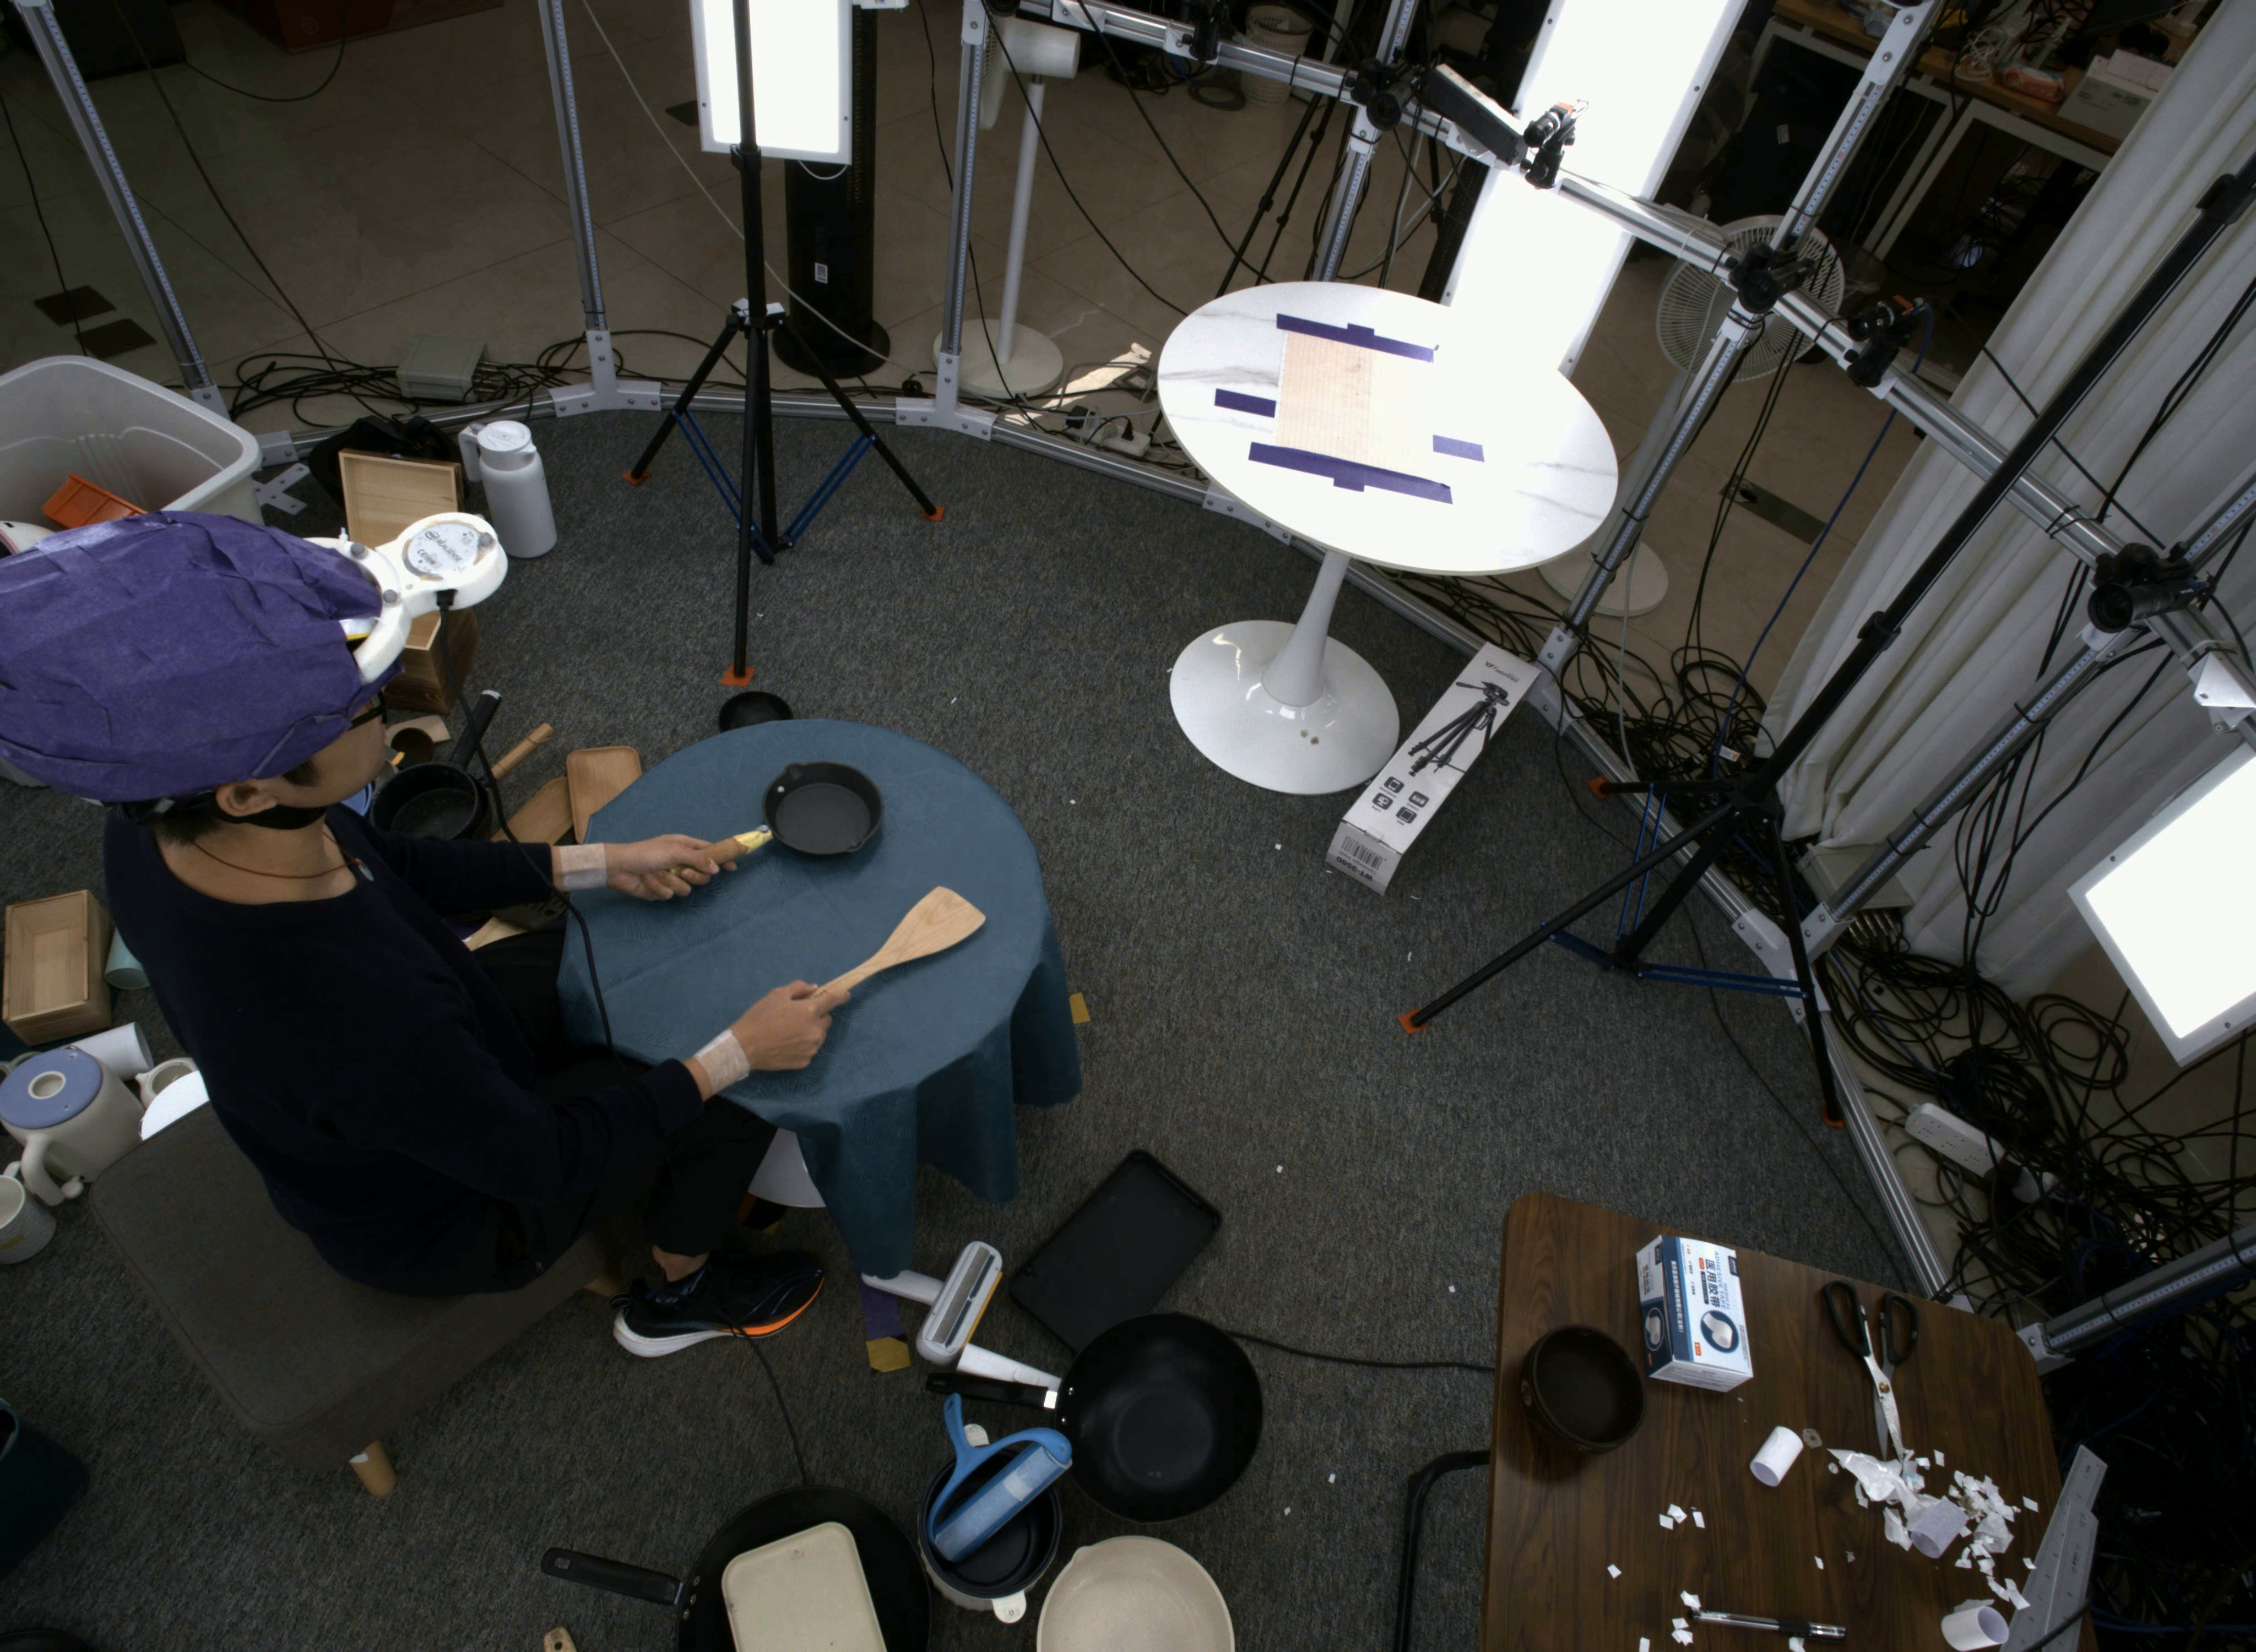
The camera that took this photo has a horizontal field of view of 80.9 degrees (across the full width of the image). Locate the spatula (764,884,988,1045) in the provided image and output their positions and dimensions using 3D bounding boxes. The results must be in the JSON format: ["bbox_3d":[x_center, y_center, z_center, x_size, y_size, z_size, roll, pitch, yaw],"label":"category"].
[{"bbox_3d":[-0.308,0.166,1.577,0.079,0.017,0.328,46,49,11],"label":"spatula"}]

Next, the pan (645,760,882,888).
[{"bbox_3d":[-0.468,0.010,1.659,0.326,0.050,0.165,-26,64,-32],"label":"pan"}]
